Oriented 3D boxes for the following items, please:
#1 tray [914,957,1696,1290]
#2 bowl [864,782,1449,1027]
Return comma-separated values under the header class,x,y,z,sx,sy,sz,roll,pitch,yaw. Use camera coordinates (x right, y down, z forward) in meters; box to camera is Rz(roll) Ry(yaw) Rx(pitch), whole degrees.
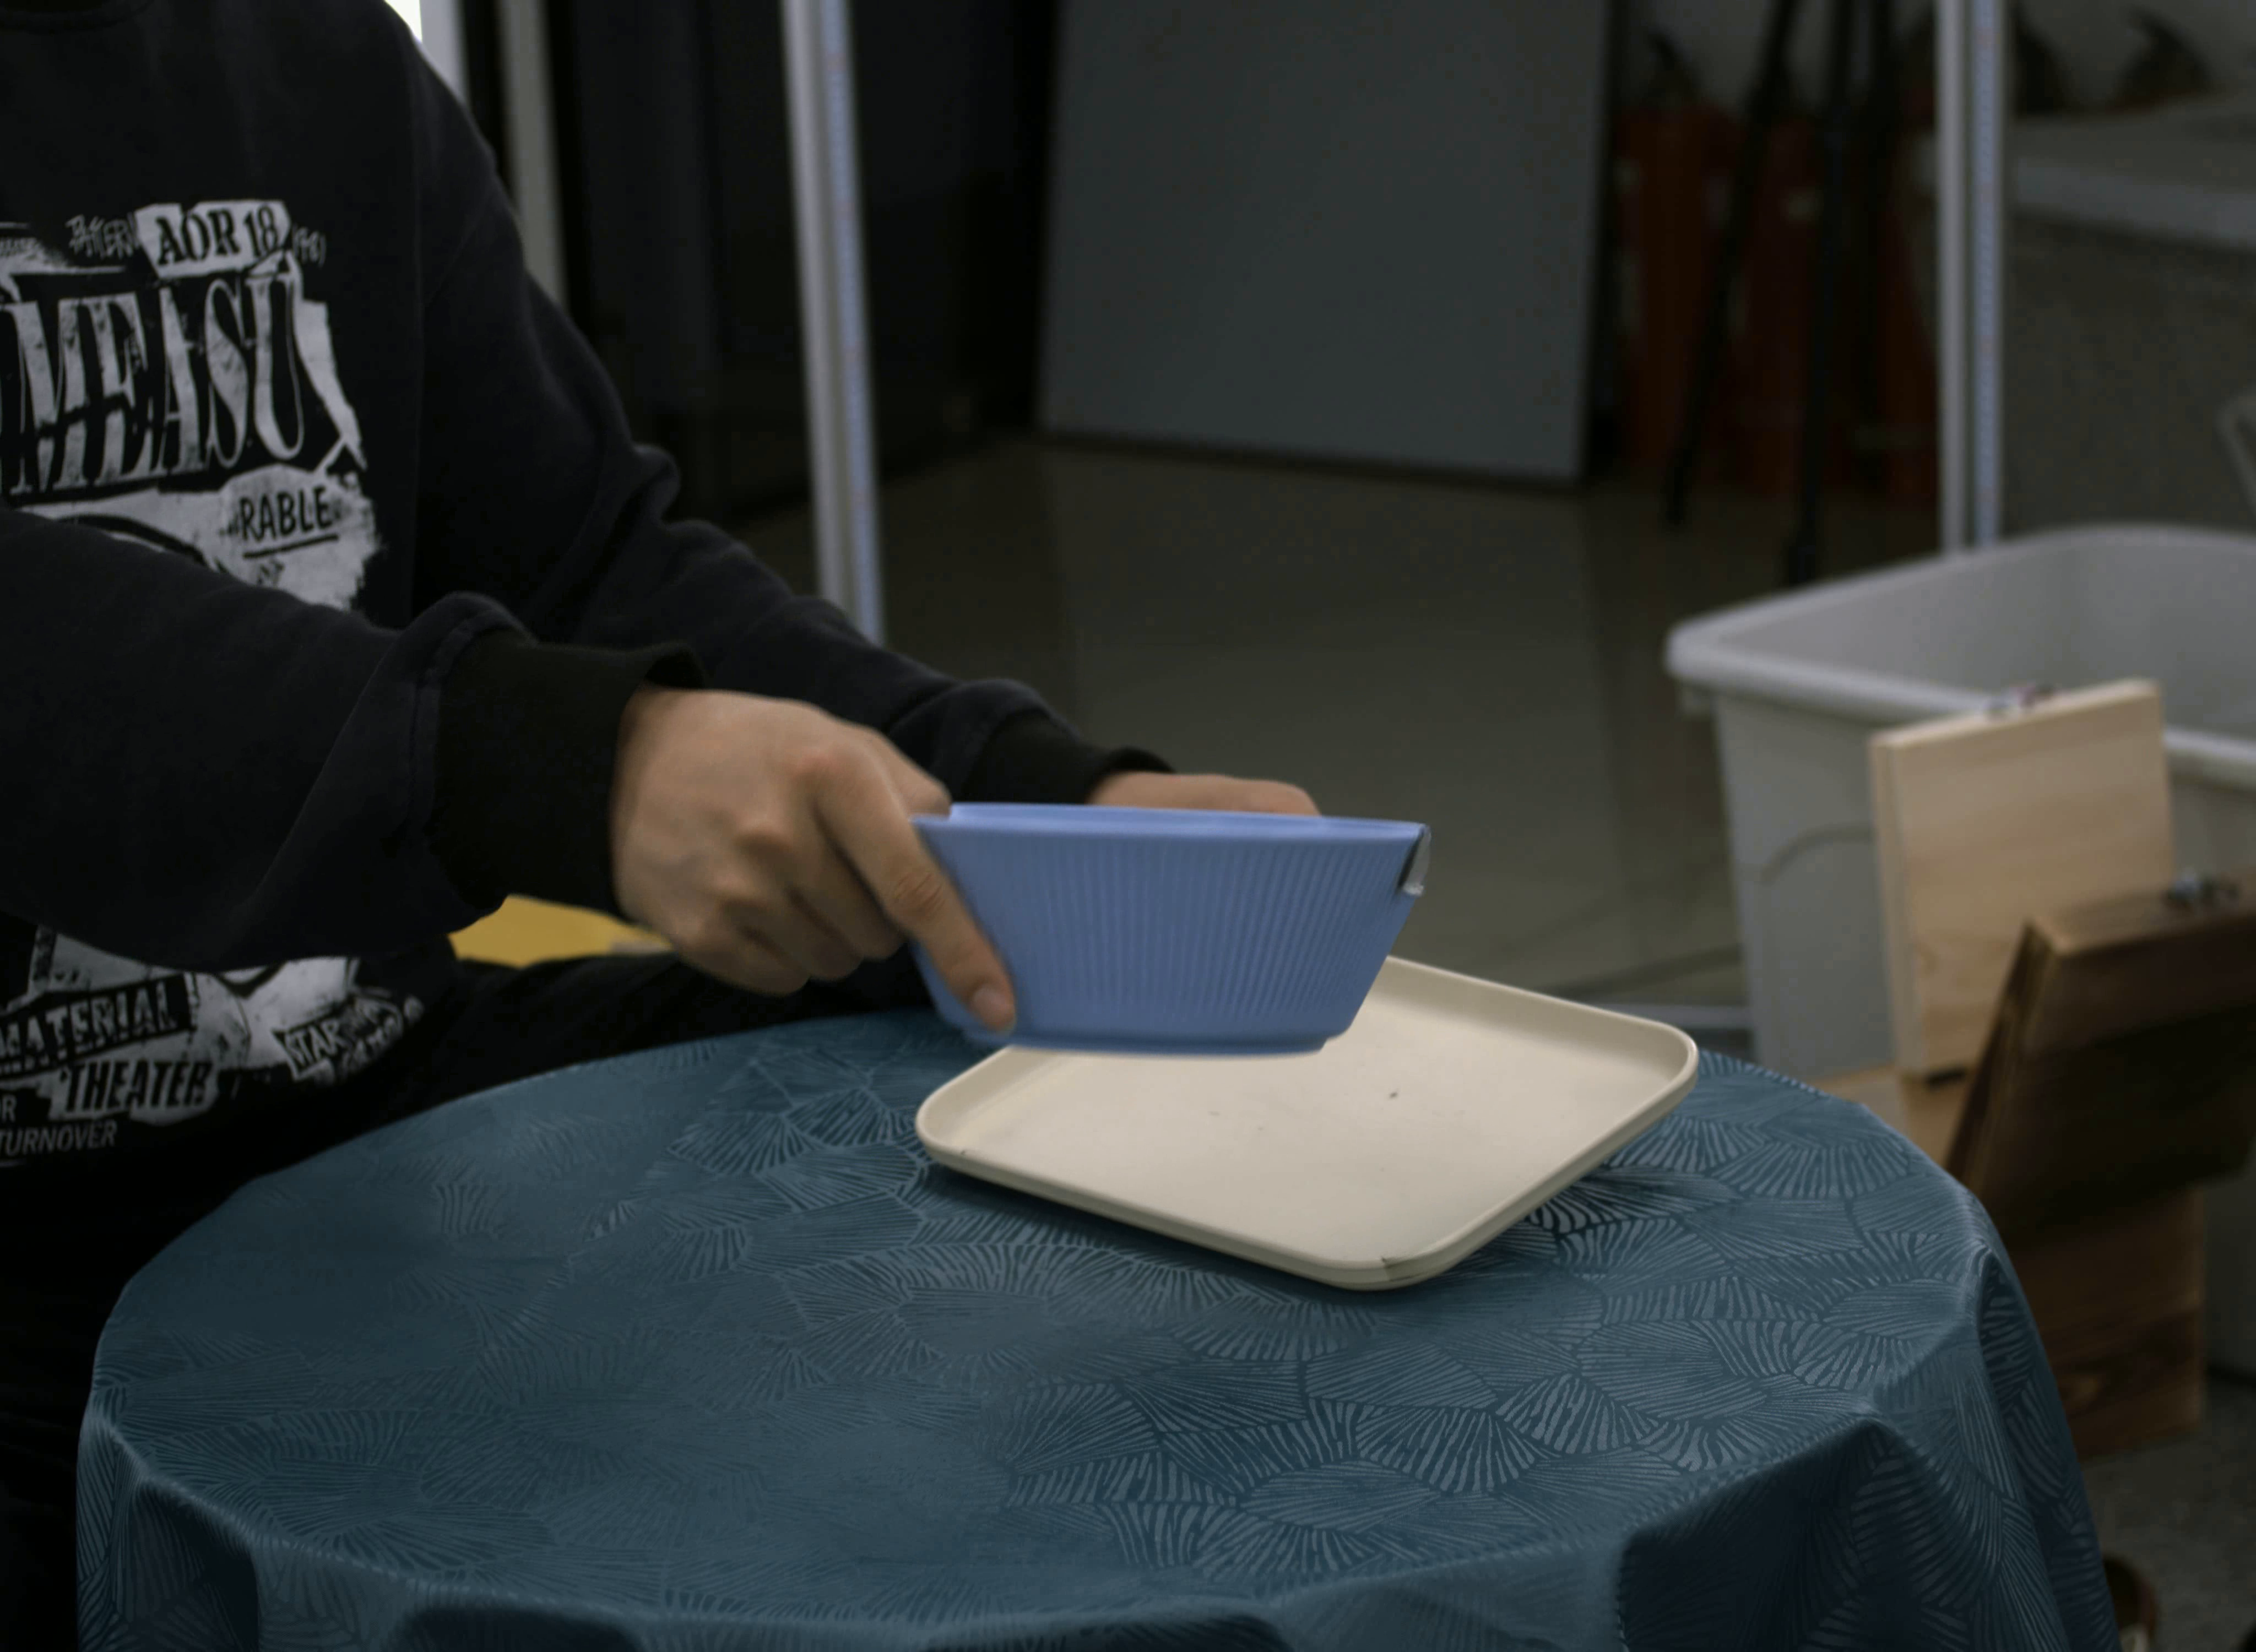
class,x,y,z,sx,sy,sz,roll,pitch,yaw
tray,0.057,0.092,1.767,0.168,0.017,0.242,-30,28,-36
bowl,0.007,0.023,1.591,0.174,0.071,0.176,2,-1,-1
